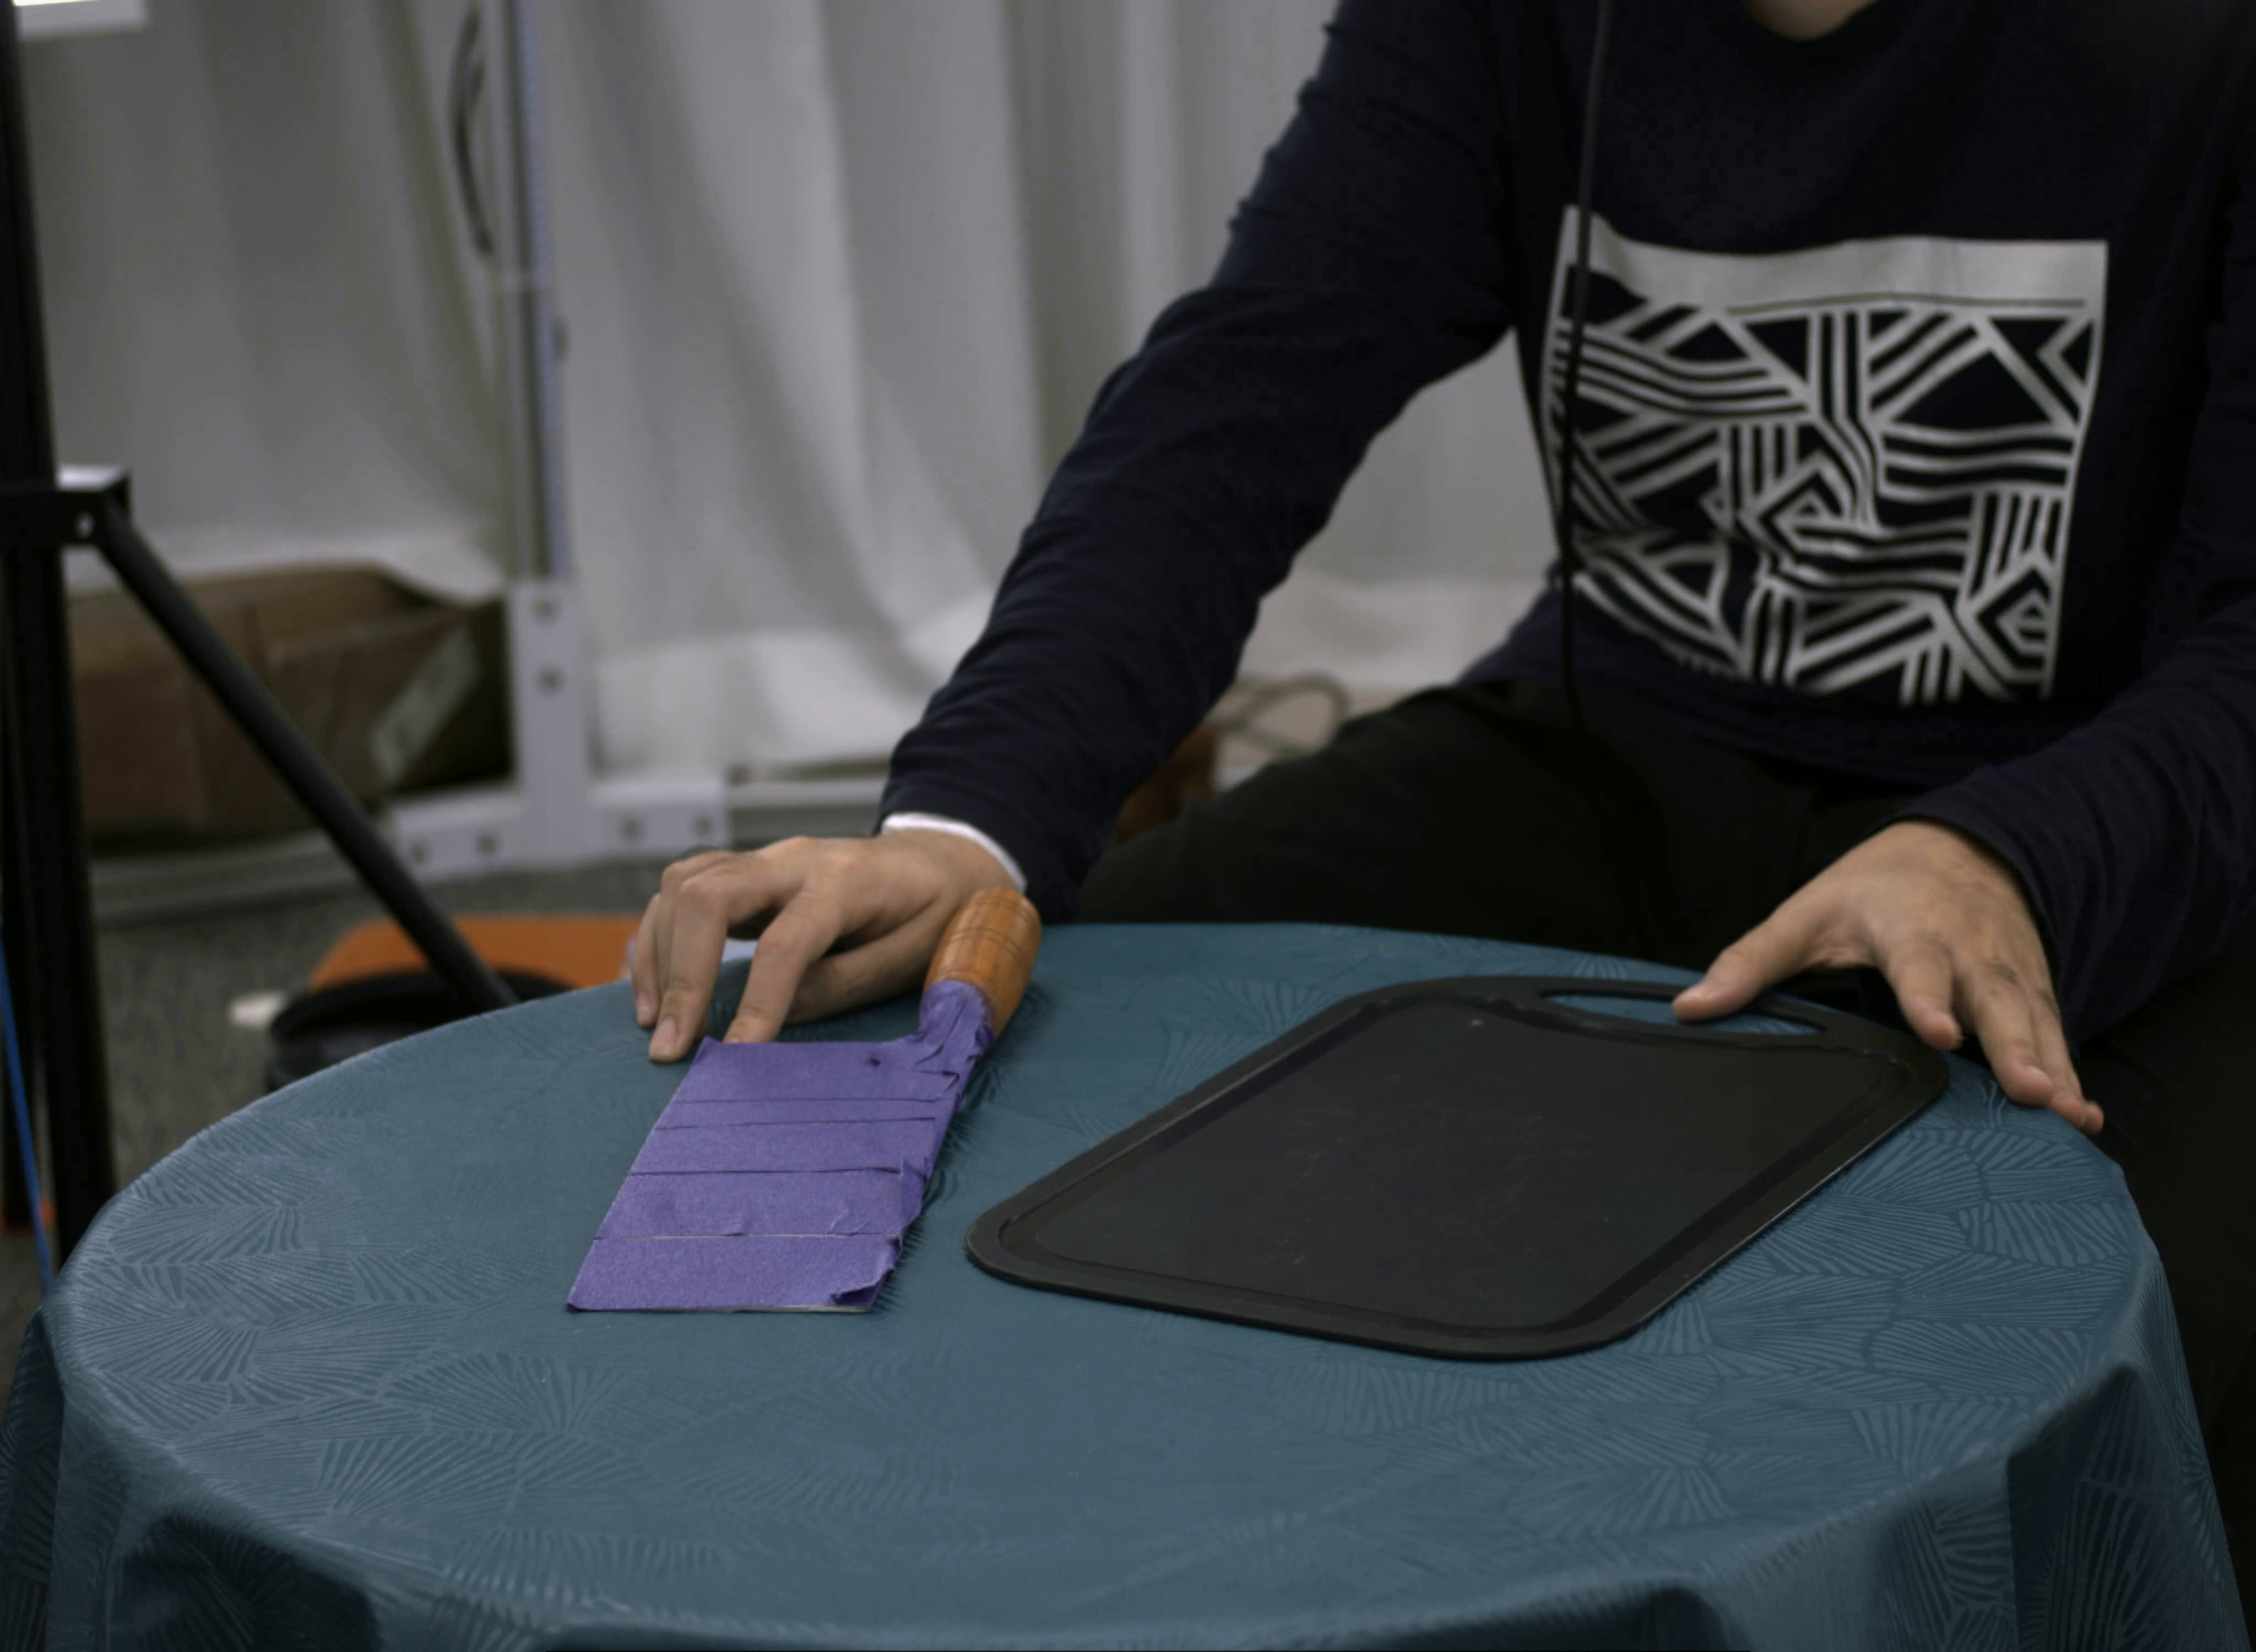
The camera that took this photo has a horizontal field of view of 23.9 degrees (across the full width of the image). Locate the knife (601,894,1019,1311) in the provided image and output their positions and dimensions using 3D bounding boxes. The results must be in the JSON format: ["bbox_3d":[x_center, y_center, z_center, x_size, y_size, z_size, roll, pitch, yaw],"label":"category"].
[{"bbox_3d":[-0.095,0.081,1.623,0.104,0.032,0.315,0,16,7],"label":"knife"}]

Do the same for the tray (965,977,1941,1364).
[{"bbox_3d":[0.106,0.094,1.585,0.215,0.010,0.319,7,18,30],"label":"tray"}]
